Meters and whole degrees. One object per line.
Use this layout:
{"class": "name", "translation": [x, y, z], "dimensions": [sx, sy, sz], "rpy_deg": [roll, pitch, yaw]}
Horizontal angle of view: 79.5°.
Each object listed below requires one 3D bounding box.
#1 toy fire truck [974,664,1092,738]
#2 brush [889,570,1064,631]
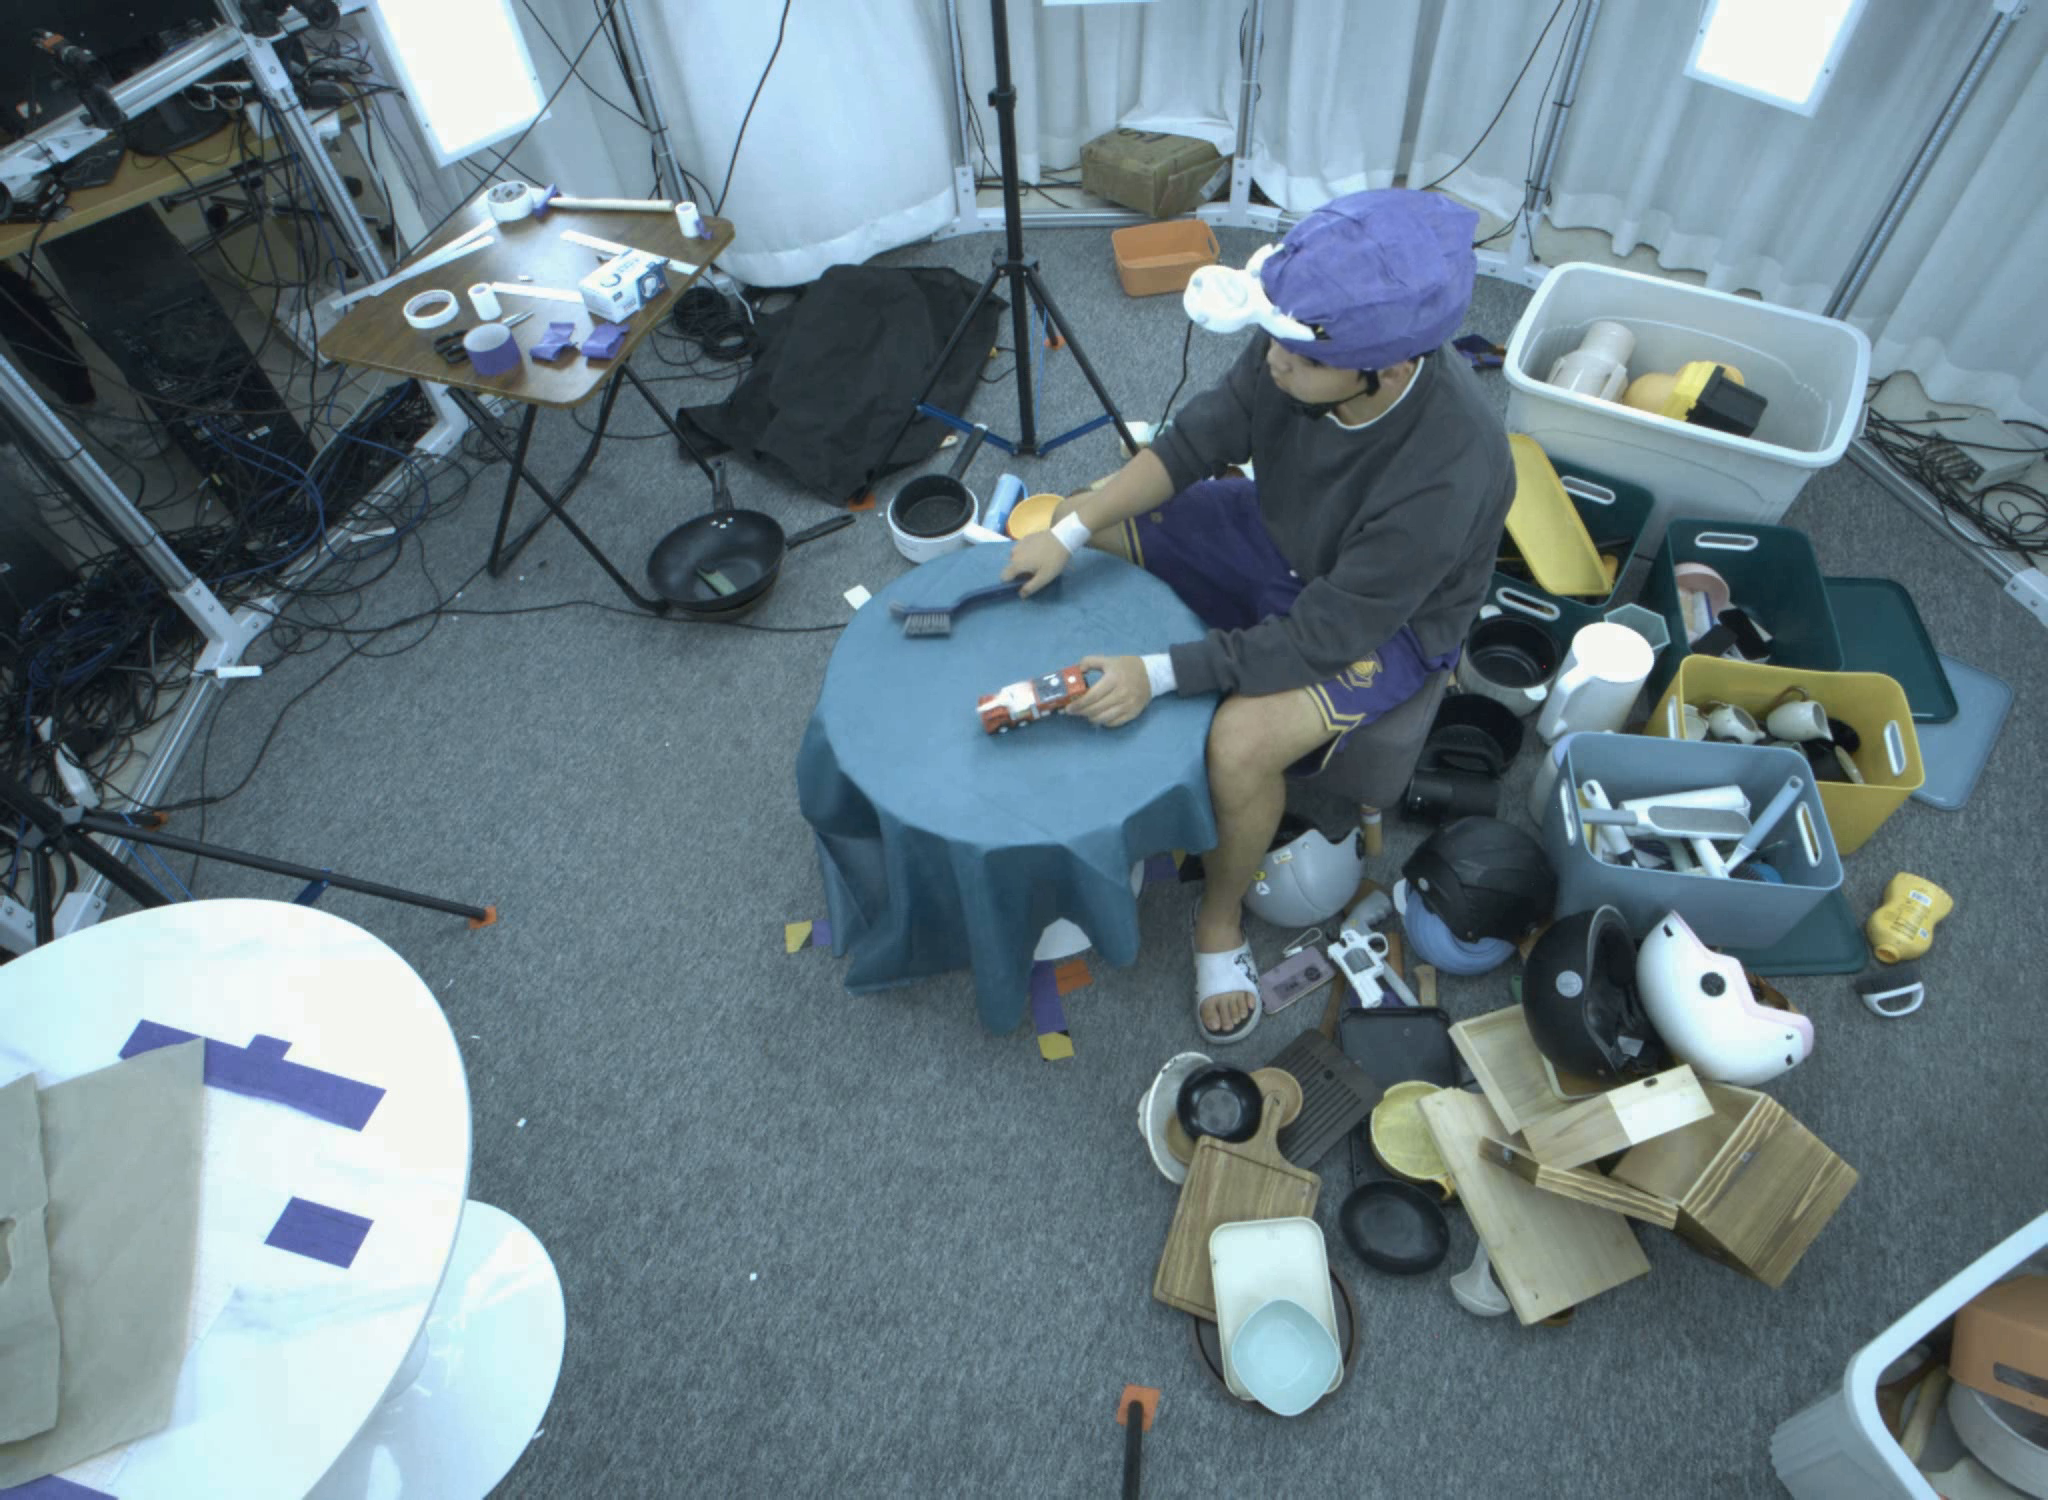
{"class": "toy fire truck", "translation": [0.013, -0.072, 1.792], "dimensions": [0.168, 0.071, 0.053], "rpy_deg": [-18, 63, 1]}
{"class": "brush", "translation": [-0.073, -0.250, 1.950], "dimensions": [0.275, 0.034, 0.094], "rpy_deg": [-21, 56, -12]}
